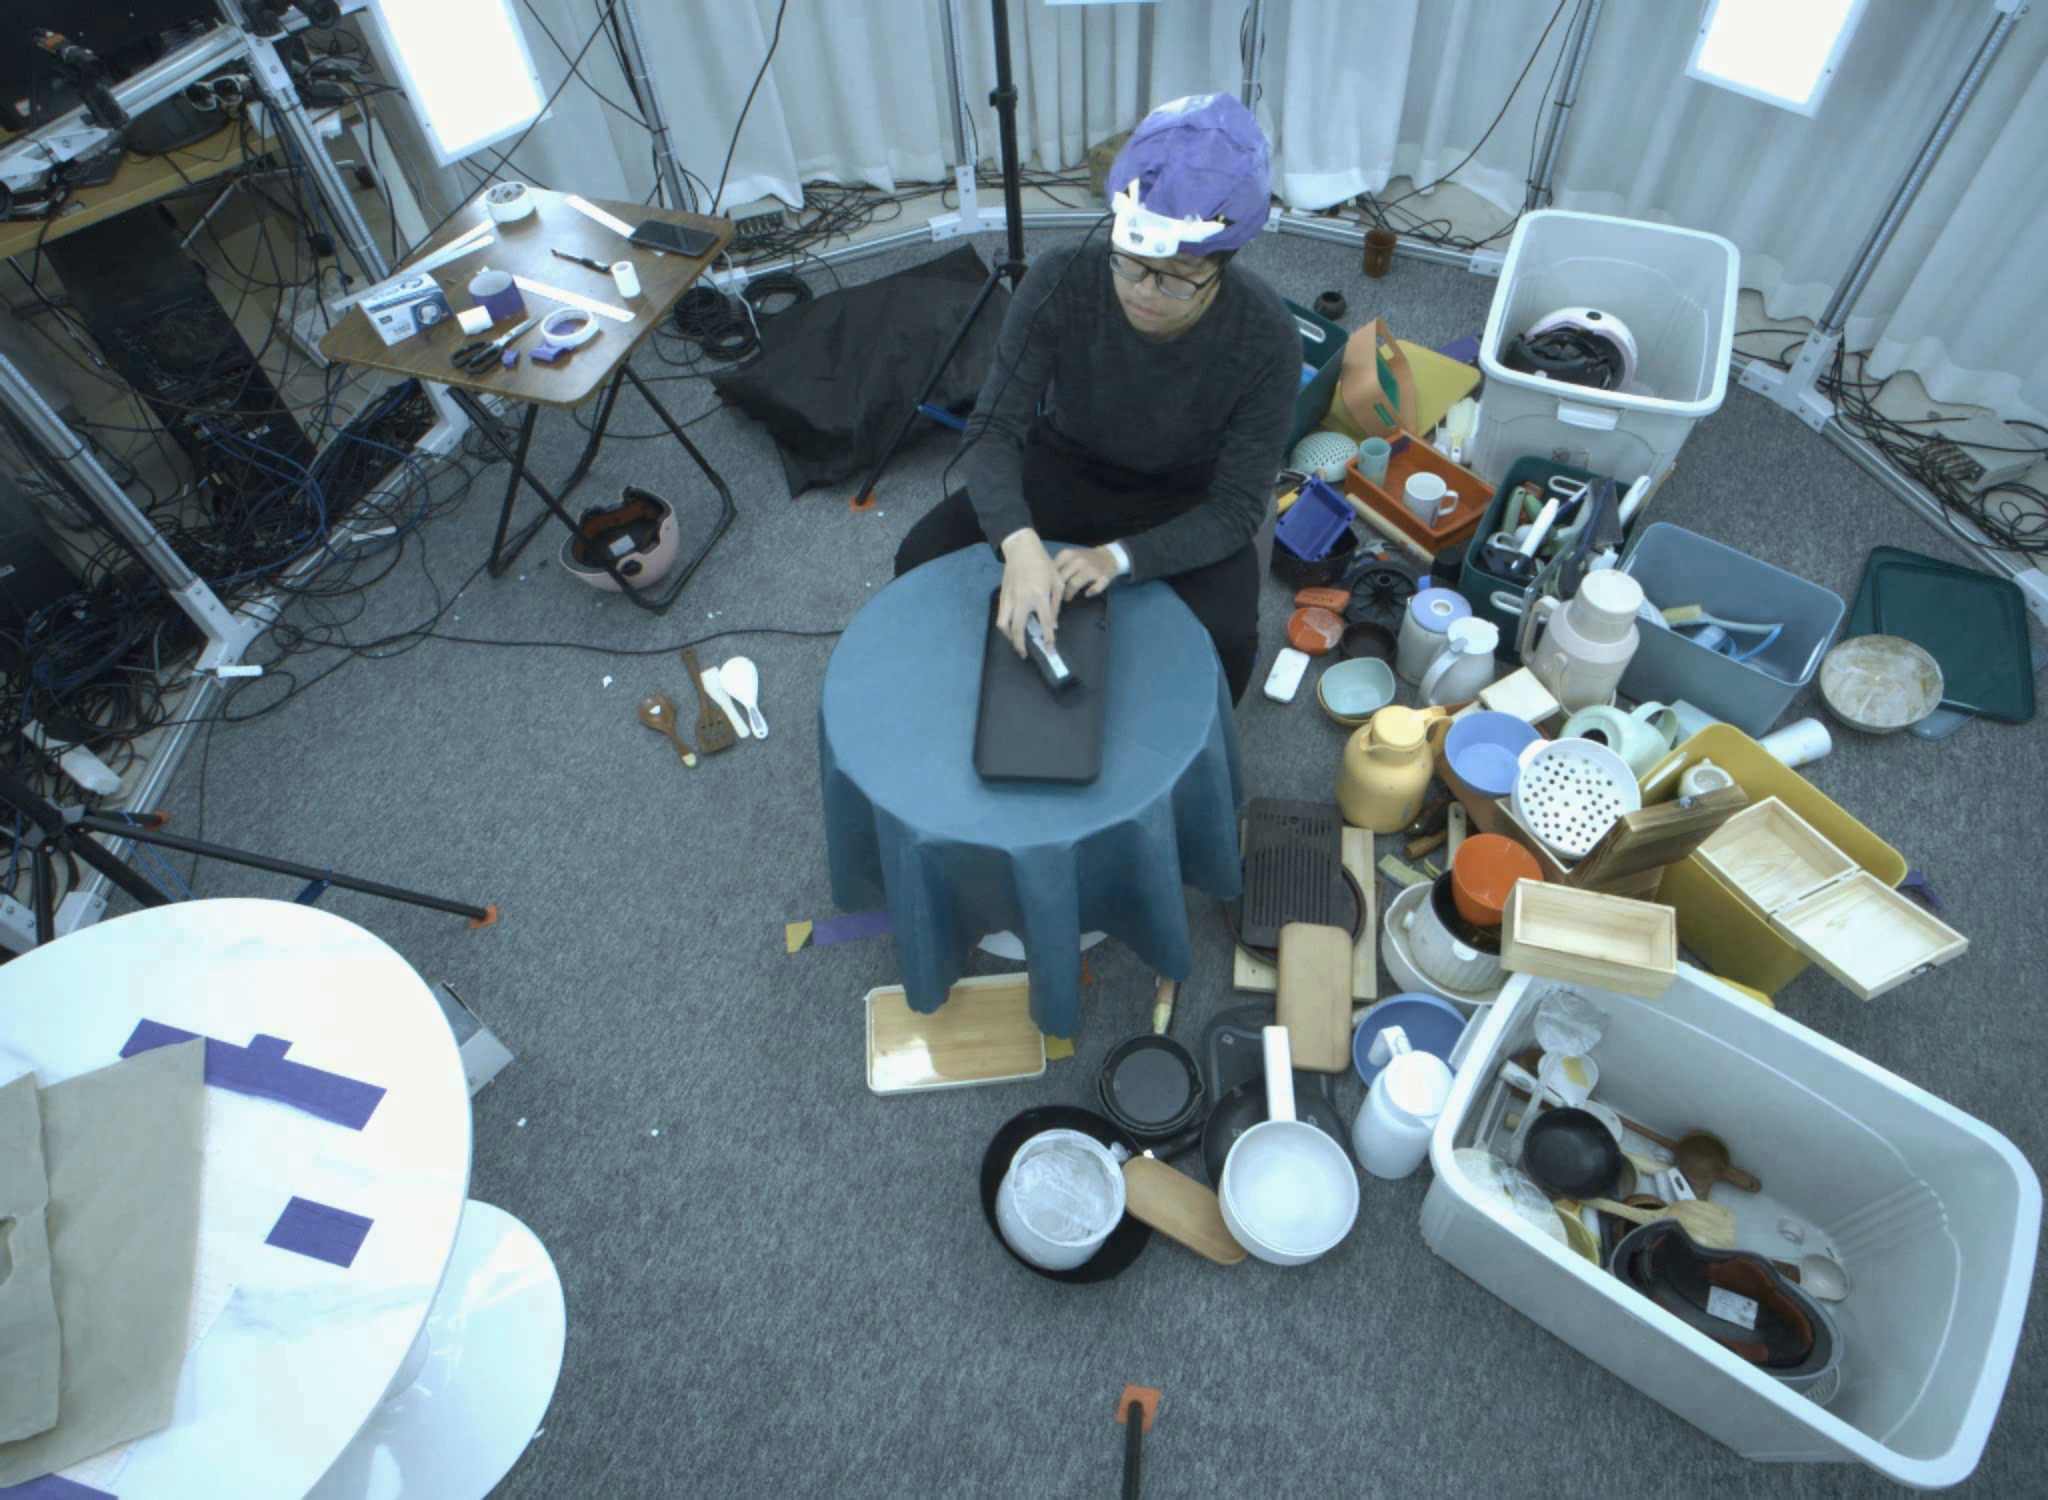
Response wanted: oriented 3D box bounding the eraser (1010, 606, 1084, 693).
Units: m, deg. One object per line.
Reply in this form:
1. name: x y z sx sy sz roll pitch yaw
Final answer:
1. eraser: 0.033 -0.147 1.794 0.054 0.030 0.124 -30 76 -10

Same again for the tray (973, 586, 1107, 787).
1. tray: 0.028 -0.095 1.796 0.183 0.037 0.315 1 65 5
